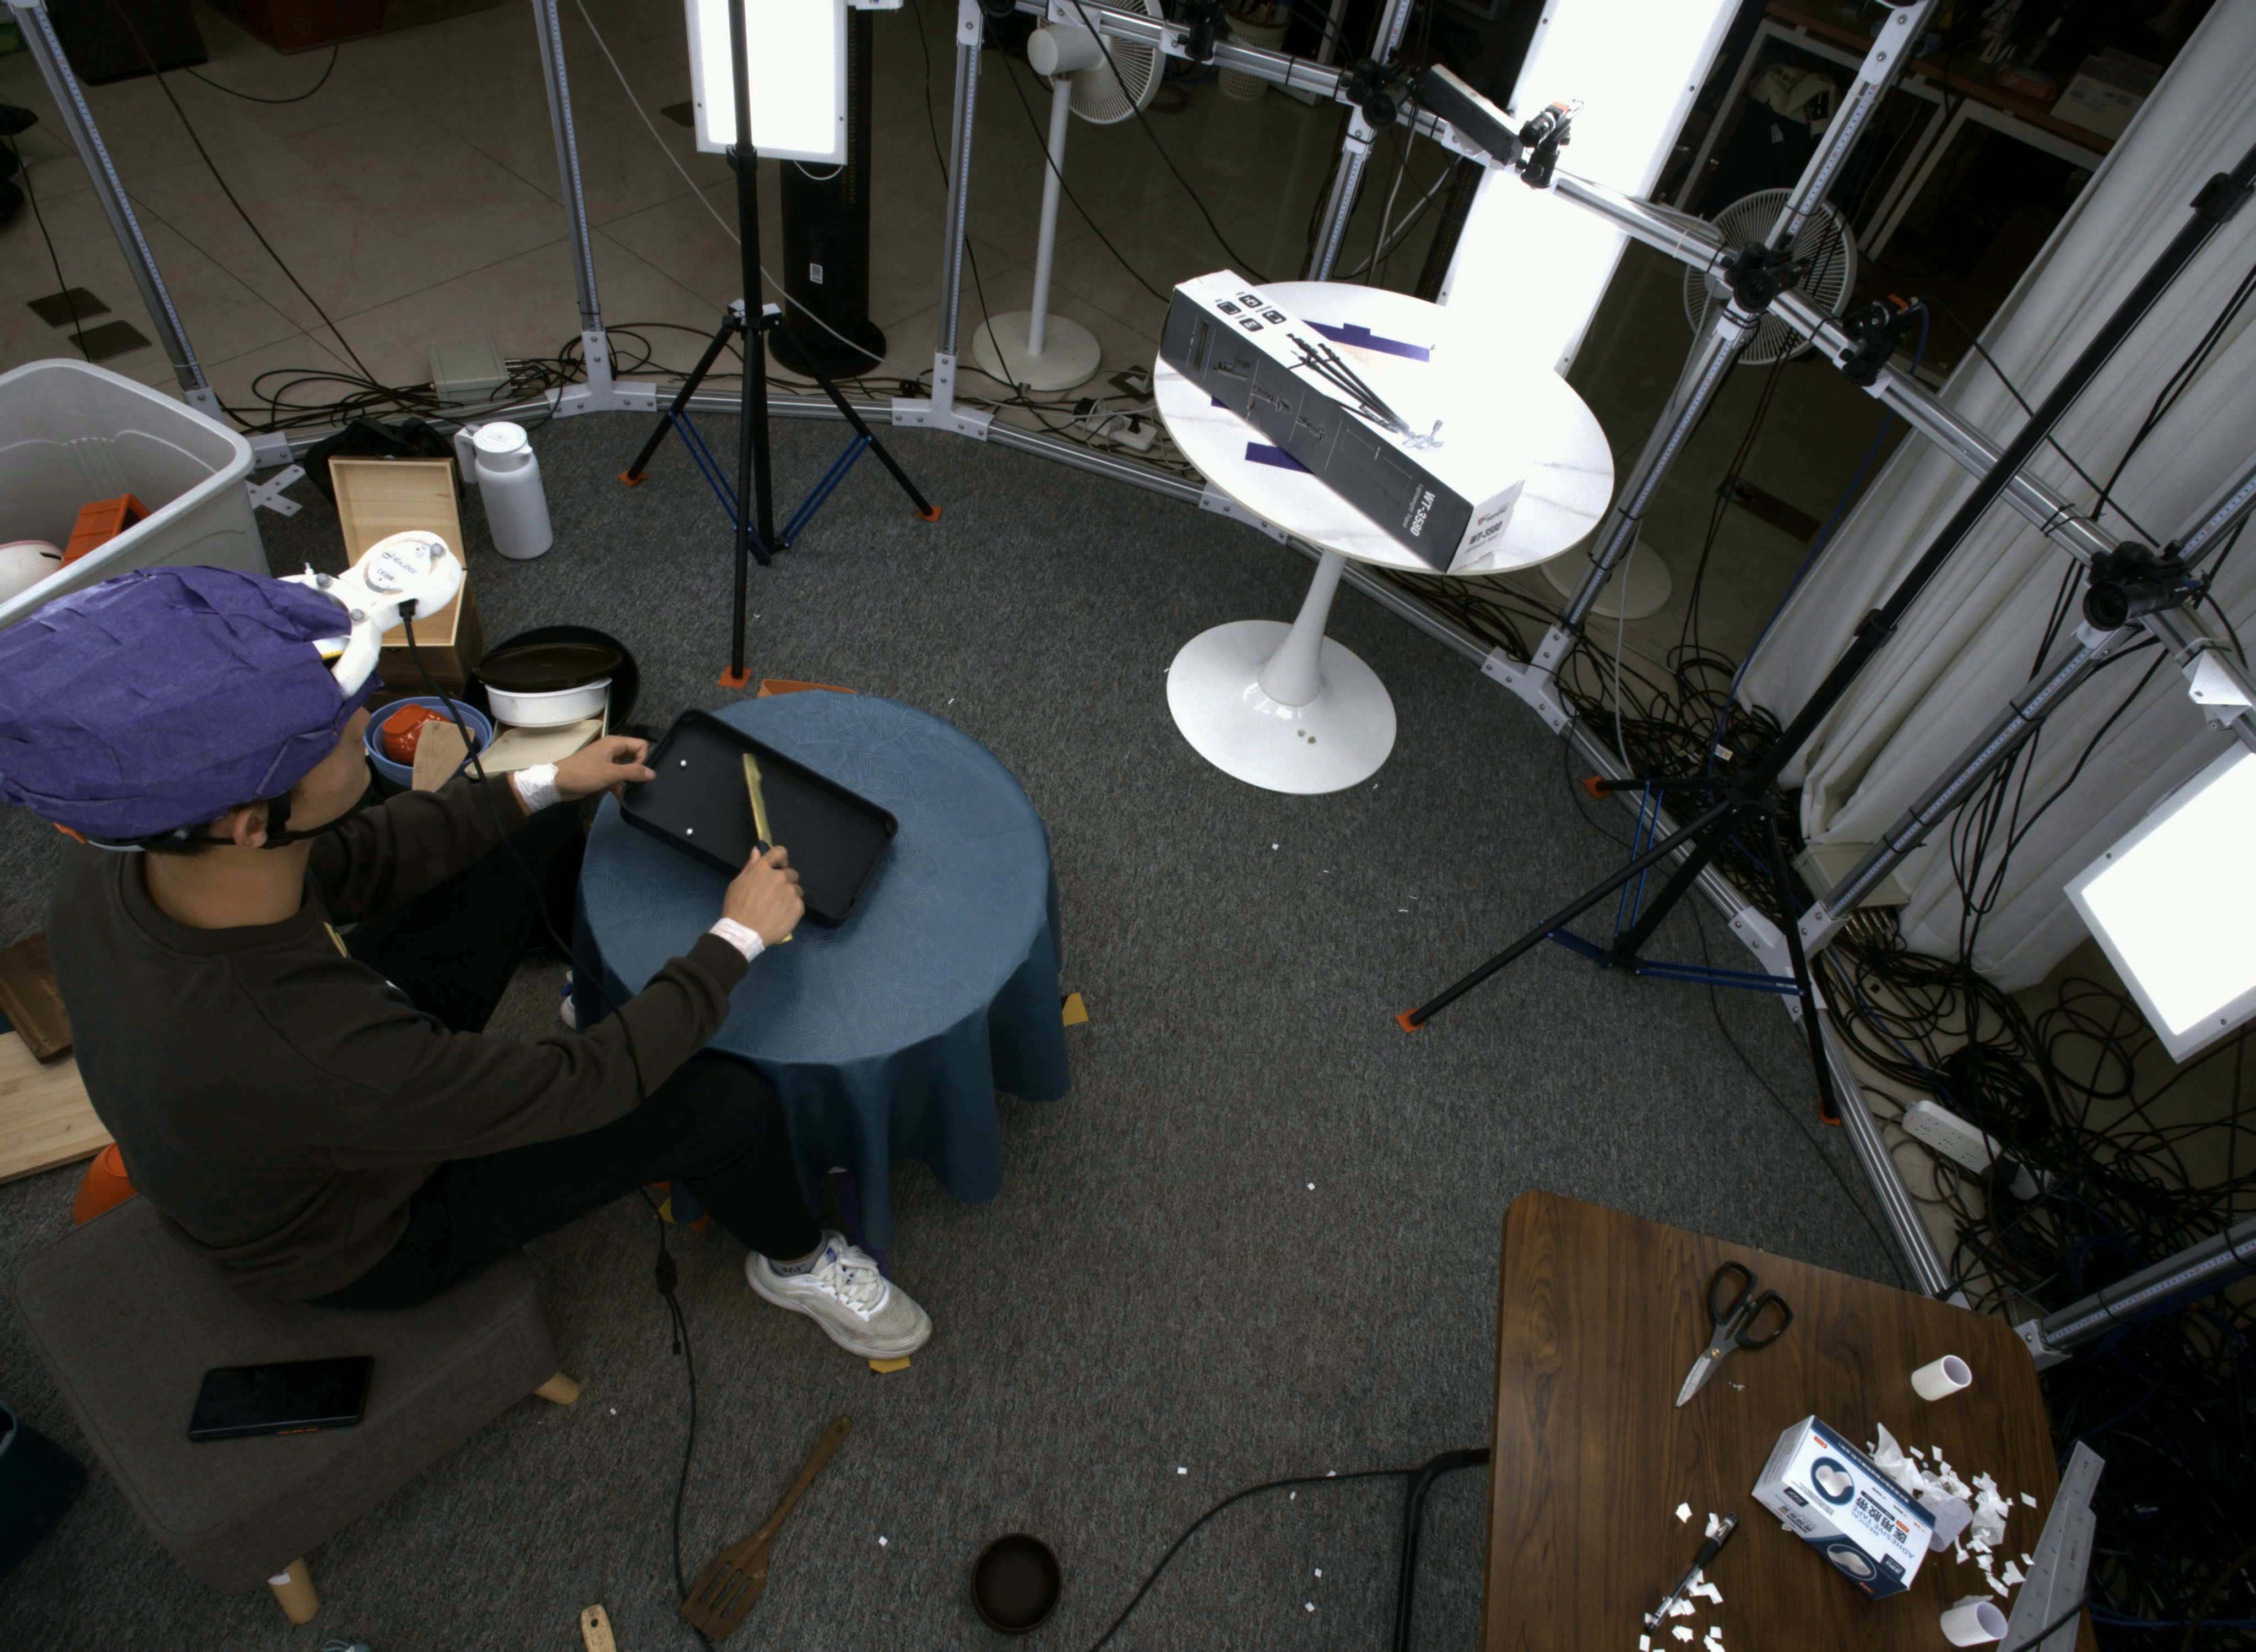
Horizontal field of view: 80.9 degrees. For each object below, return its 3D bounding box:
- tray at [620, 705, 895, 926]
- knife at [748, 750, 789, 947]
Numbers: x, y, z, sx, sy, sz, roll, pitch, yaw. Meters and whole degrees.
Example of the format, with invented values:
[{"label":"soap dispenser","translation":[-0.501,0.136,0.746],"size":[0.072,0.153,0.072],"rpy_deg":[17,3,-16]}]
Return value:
[{"label":"tray","translation":[-0.472,-0.015,1.657],"size":[0.321,0.037,0.182],"rpy_deg":[29,53,-13]},{"label":"knife","translation":[-0.448,0.024,1.611],"size":[0.027,0.083,0.284],"rpy_deg":[-14,62,-3]}]
